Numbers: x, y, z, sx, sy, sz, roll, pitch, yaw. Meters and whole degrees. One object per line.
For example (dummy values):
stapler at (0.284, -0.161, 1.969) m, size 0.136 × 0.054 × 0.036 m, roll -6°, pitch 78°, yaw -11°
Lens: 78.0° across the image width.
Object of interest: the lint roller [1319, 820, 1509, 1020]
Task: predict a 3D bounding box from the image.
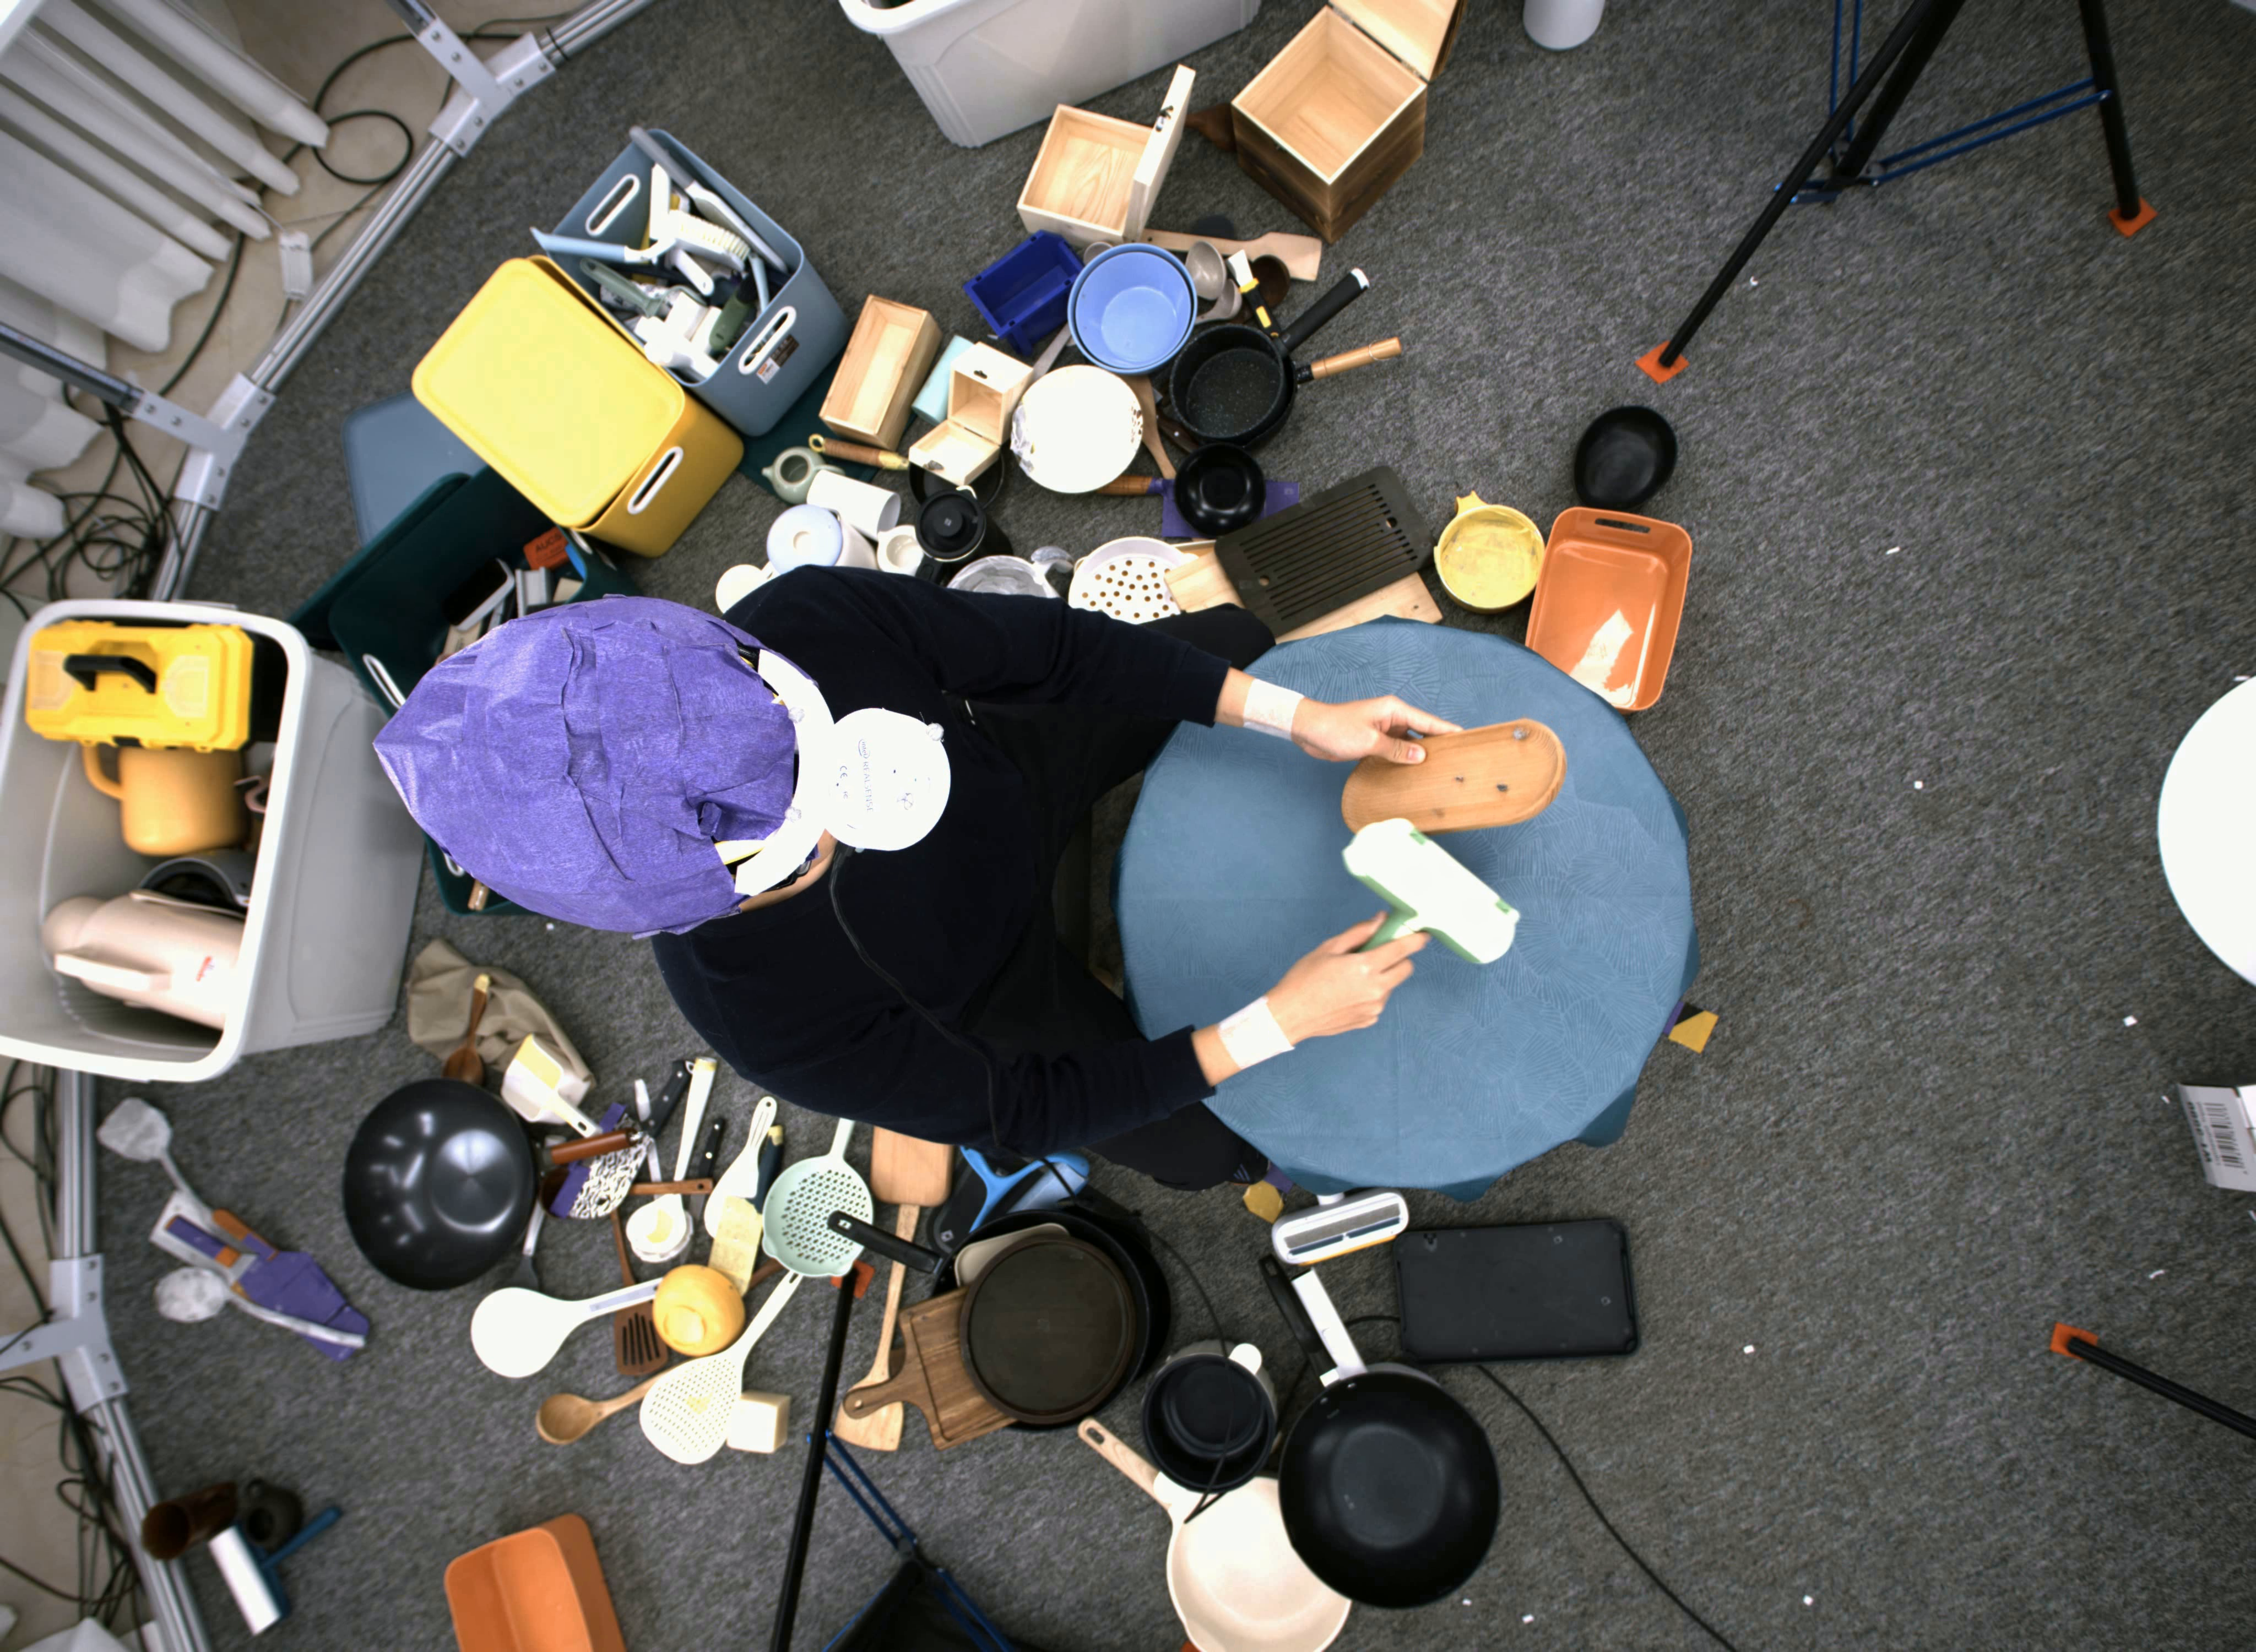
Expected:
lint roller at (0.247, 0.112, 1.269) m, size 0.200 × 0.081 × 0.183 m, roll 33°, pitch 92°, yaw -32°

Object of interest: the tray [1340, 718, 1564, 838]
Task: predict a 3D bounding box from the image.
tray at (0.296, -0.041, 1.274) m, size 0.234 × 0.020 × 0.100 m, roll -11°, pitch 59°, yaw 44°
